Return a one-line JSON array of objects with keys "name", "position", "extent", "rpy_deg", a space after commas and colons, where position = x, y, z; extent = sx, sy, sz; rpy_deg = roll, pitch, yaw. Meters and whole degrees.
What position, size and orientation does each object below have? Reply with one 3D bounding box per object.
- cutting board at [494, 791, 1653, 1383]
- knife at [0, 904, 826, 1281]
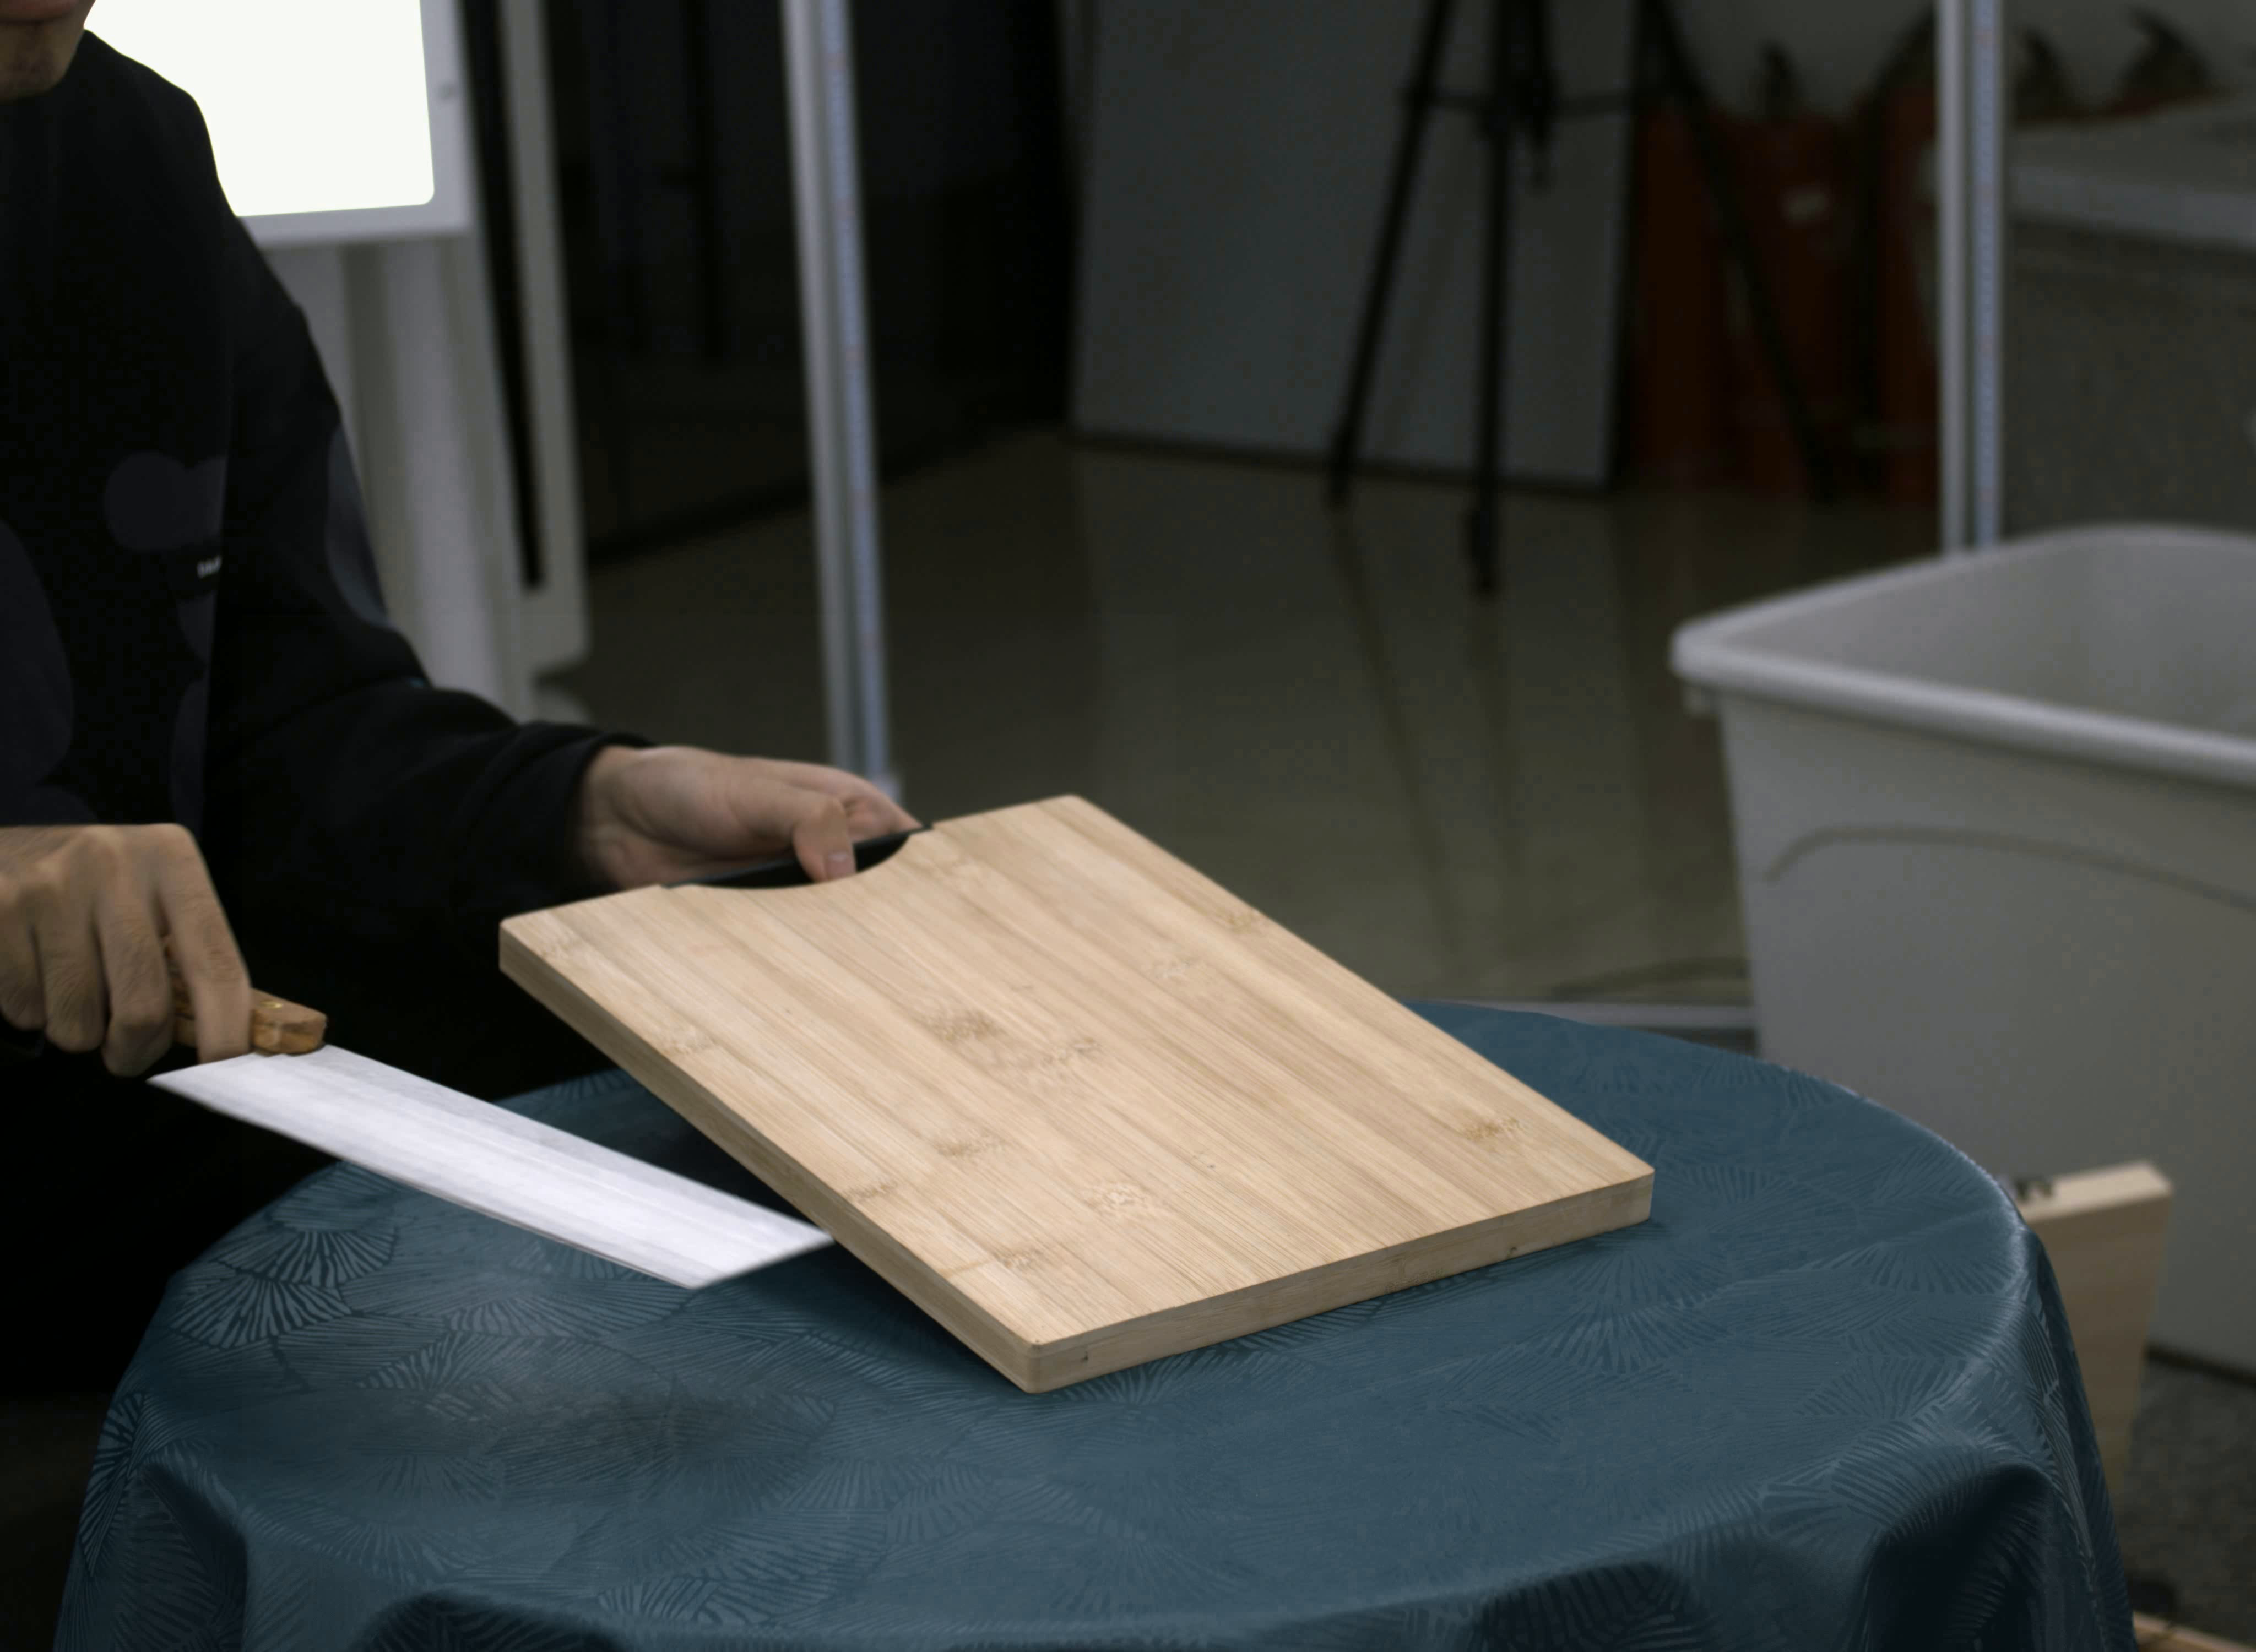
[{"name": "cutting board", "position": [-0.025, 0.078, 1.780], "extent": [0.245, 0.024, 0.352], "rpy_deg": [-13, 27, -32]}, {"name": "knife", "position": [-0.234, 0.081, 1.621], "extent": [0.306, 0.021, 0.091], "rpy_deg": [19, 12, 23]}]
